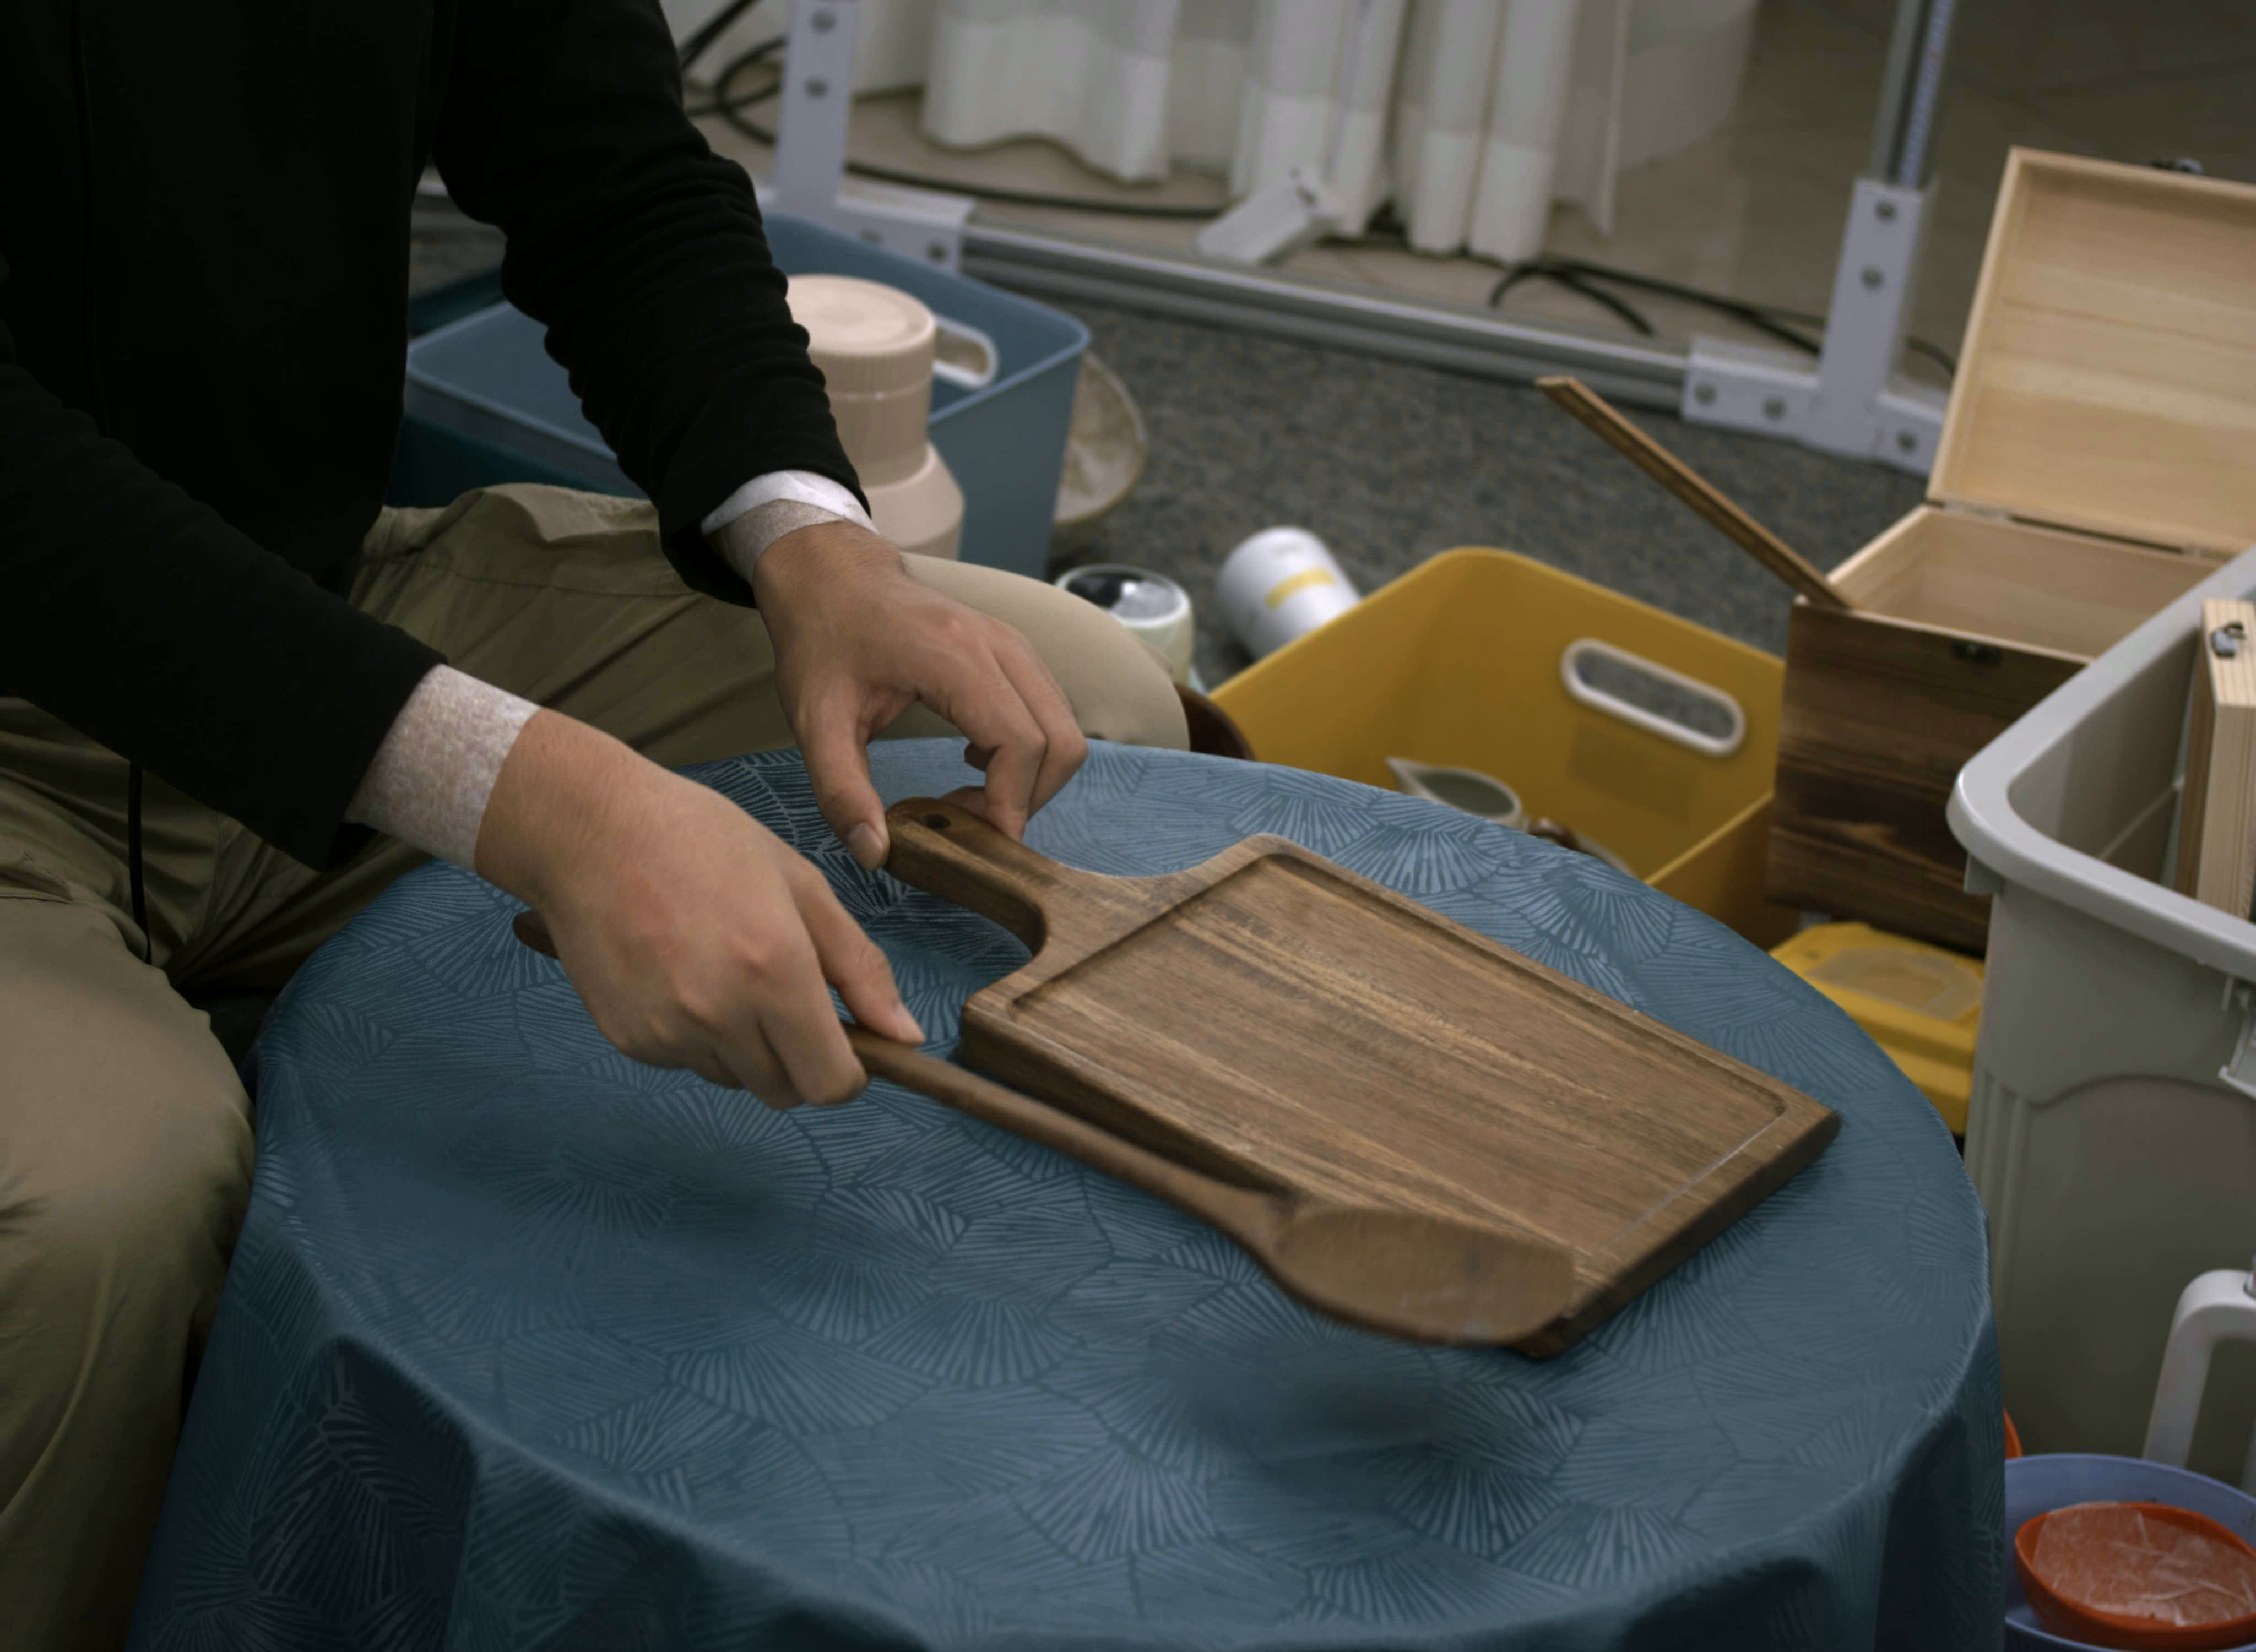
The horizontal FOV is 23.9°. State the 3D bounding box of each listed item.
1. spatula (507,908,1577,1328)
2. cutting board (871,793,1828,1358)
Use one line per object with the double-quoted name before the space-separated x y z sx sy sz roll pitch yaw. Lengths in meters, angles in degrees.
"spatula" -0.037 0.089 1.724 0.387 0.016 0.096 20 21 21
"cutting board" 0.054 0.067 1.876 0.354 0.023 0.200 26 33 26
